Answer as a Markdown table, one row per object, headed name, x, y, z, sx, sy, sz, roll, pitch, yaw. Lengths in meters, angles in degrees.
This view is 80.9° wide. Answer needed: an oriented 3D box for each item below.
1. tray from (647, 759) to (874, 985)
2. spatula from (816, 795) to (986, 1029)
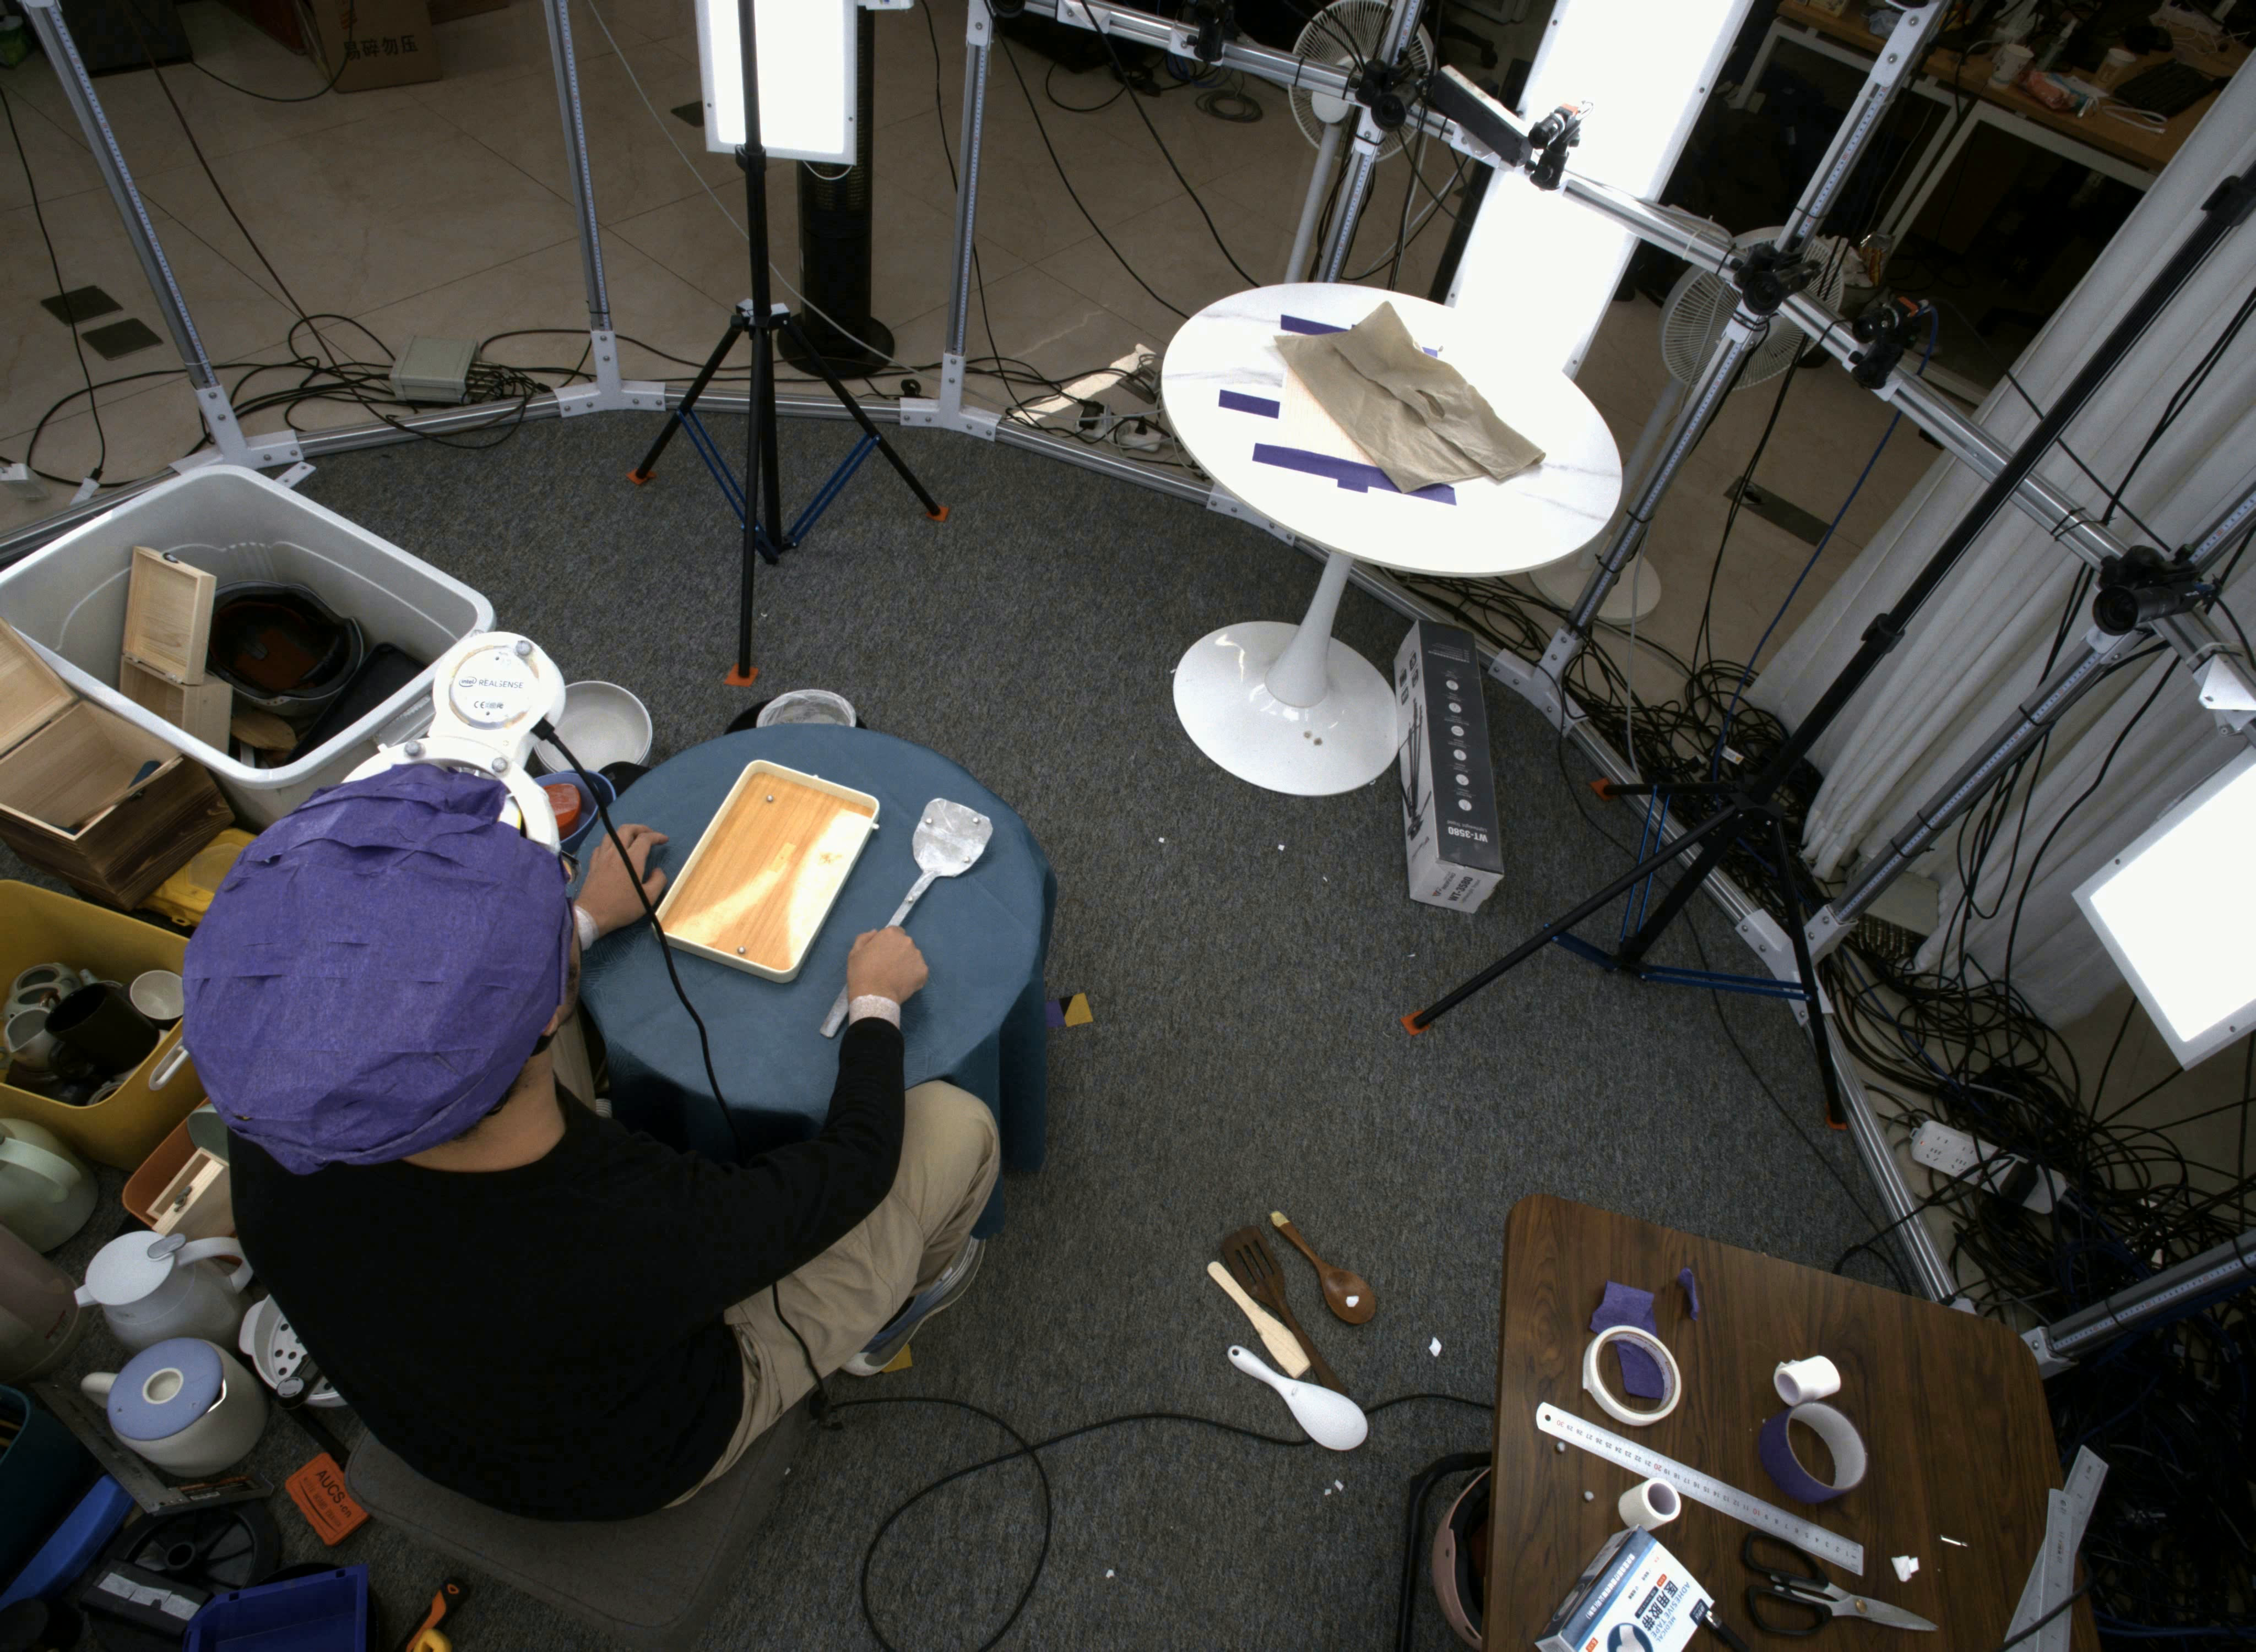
| name | x | y | z | sx | sy | sz | roll | pitch | yaw |
| --- | --- | --- | --- | --- | --- | --- | --- | --- | --- |
| tray | -0.463 | 0.051 | 1.653 | 0.190 | 0.028 | 0.297 | 19 | 52 | 0 |
| spatula | -0.295 | 0.106 | 1.649 | 0.097 | 0.045 | 0.362 | 24 | 51 | 4 |
